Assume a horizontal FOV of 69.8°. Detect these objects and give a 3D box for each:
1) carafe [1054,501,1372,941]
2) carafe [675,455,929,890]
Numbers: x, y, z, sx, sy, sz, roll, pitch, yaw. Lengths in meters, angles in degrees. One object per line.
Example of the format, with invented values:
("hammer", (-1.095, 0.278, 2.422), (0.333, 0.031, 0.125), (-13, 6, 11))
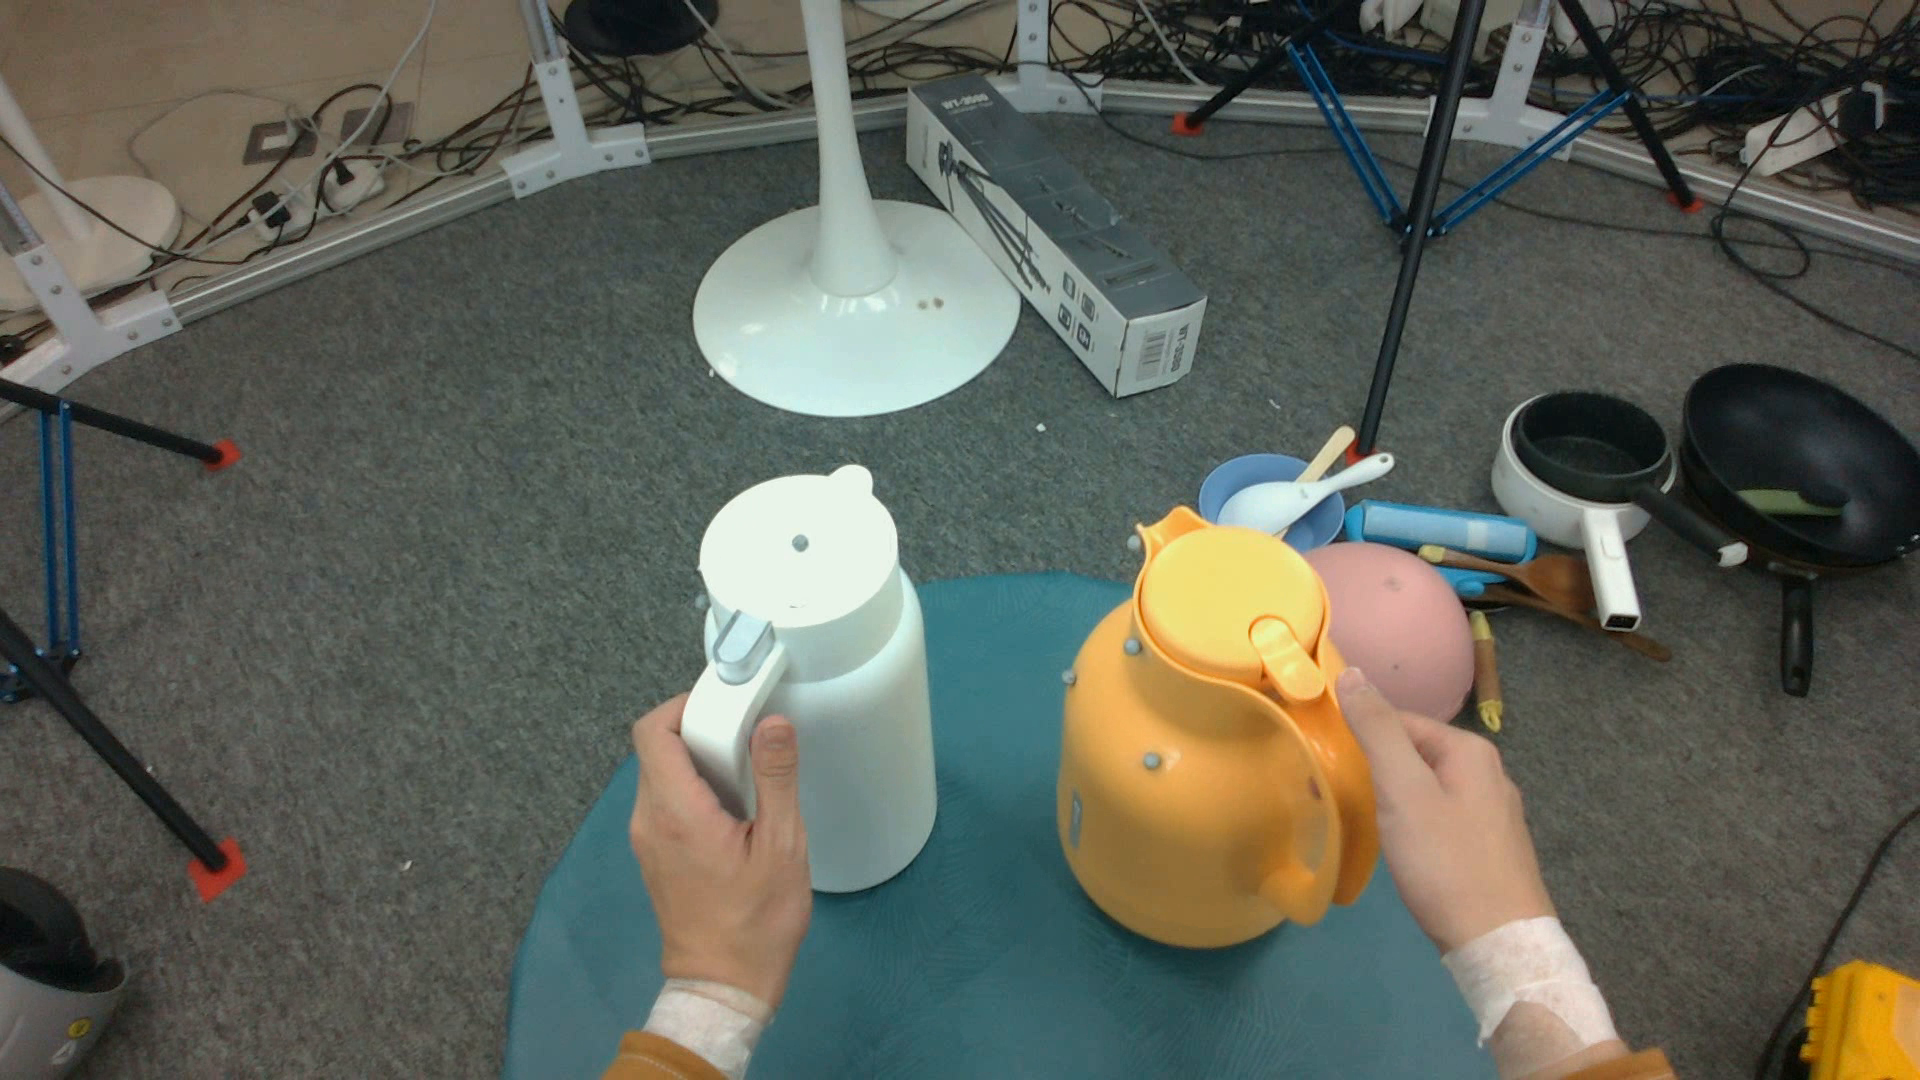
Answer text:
("carafe", (0.141, 0.116, 0.755), (0.164, 0.259, 0.203), (-21, 51, -13))
("carafe", (-0.086, 0.100, 0.770), (0.124, 0.267, 0.173), (18, 52, 13))
